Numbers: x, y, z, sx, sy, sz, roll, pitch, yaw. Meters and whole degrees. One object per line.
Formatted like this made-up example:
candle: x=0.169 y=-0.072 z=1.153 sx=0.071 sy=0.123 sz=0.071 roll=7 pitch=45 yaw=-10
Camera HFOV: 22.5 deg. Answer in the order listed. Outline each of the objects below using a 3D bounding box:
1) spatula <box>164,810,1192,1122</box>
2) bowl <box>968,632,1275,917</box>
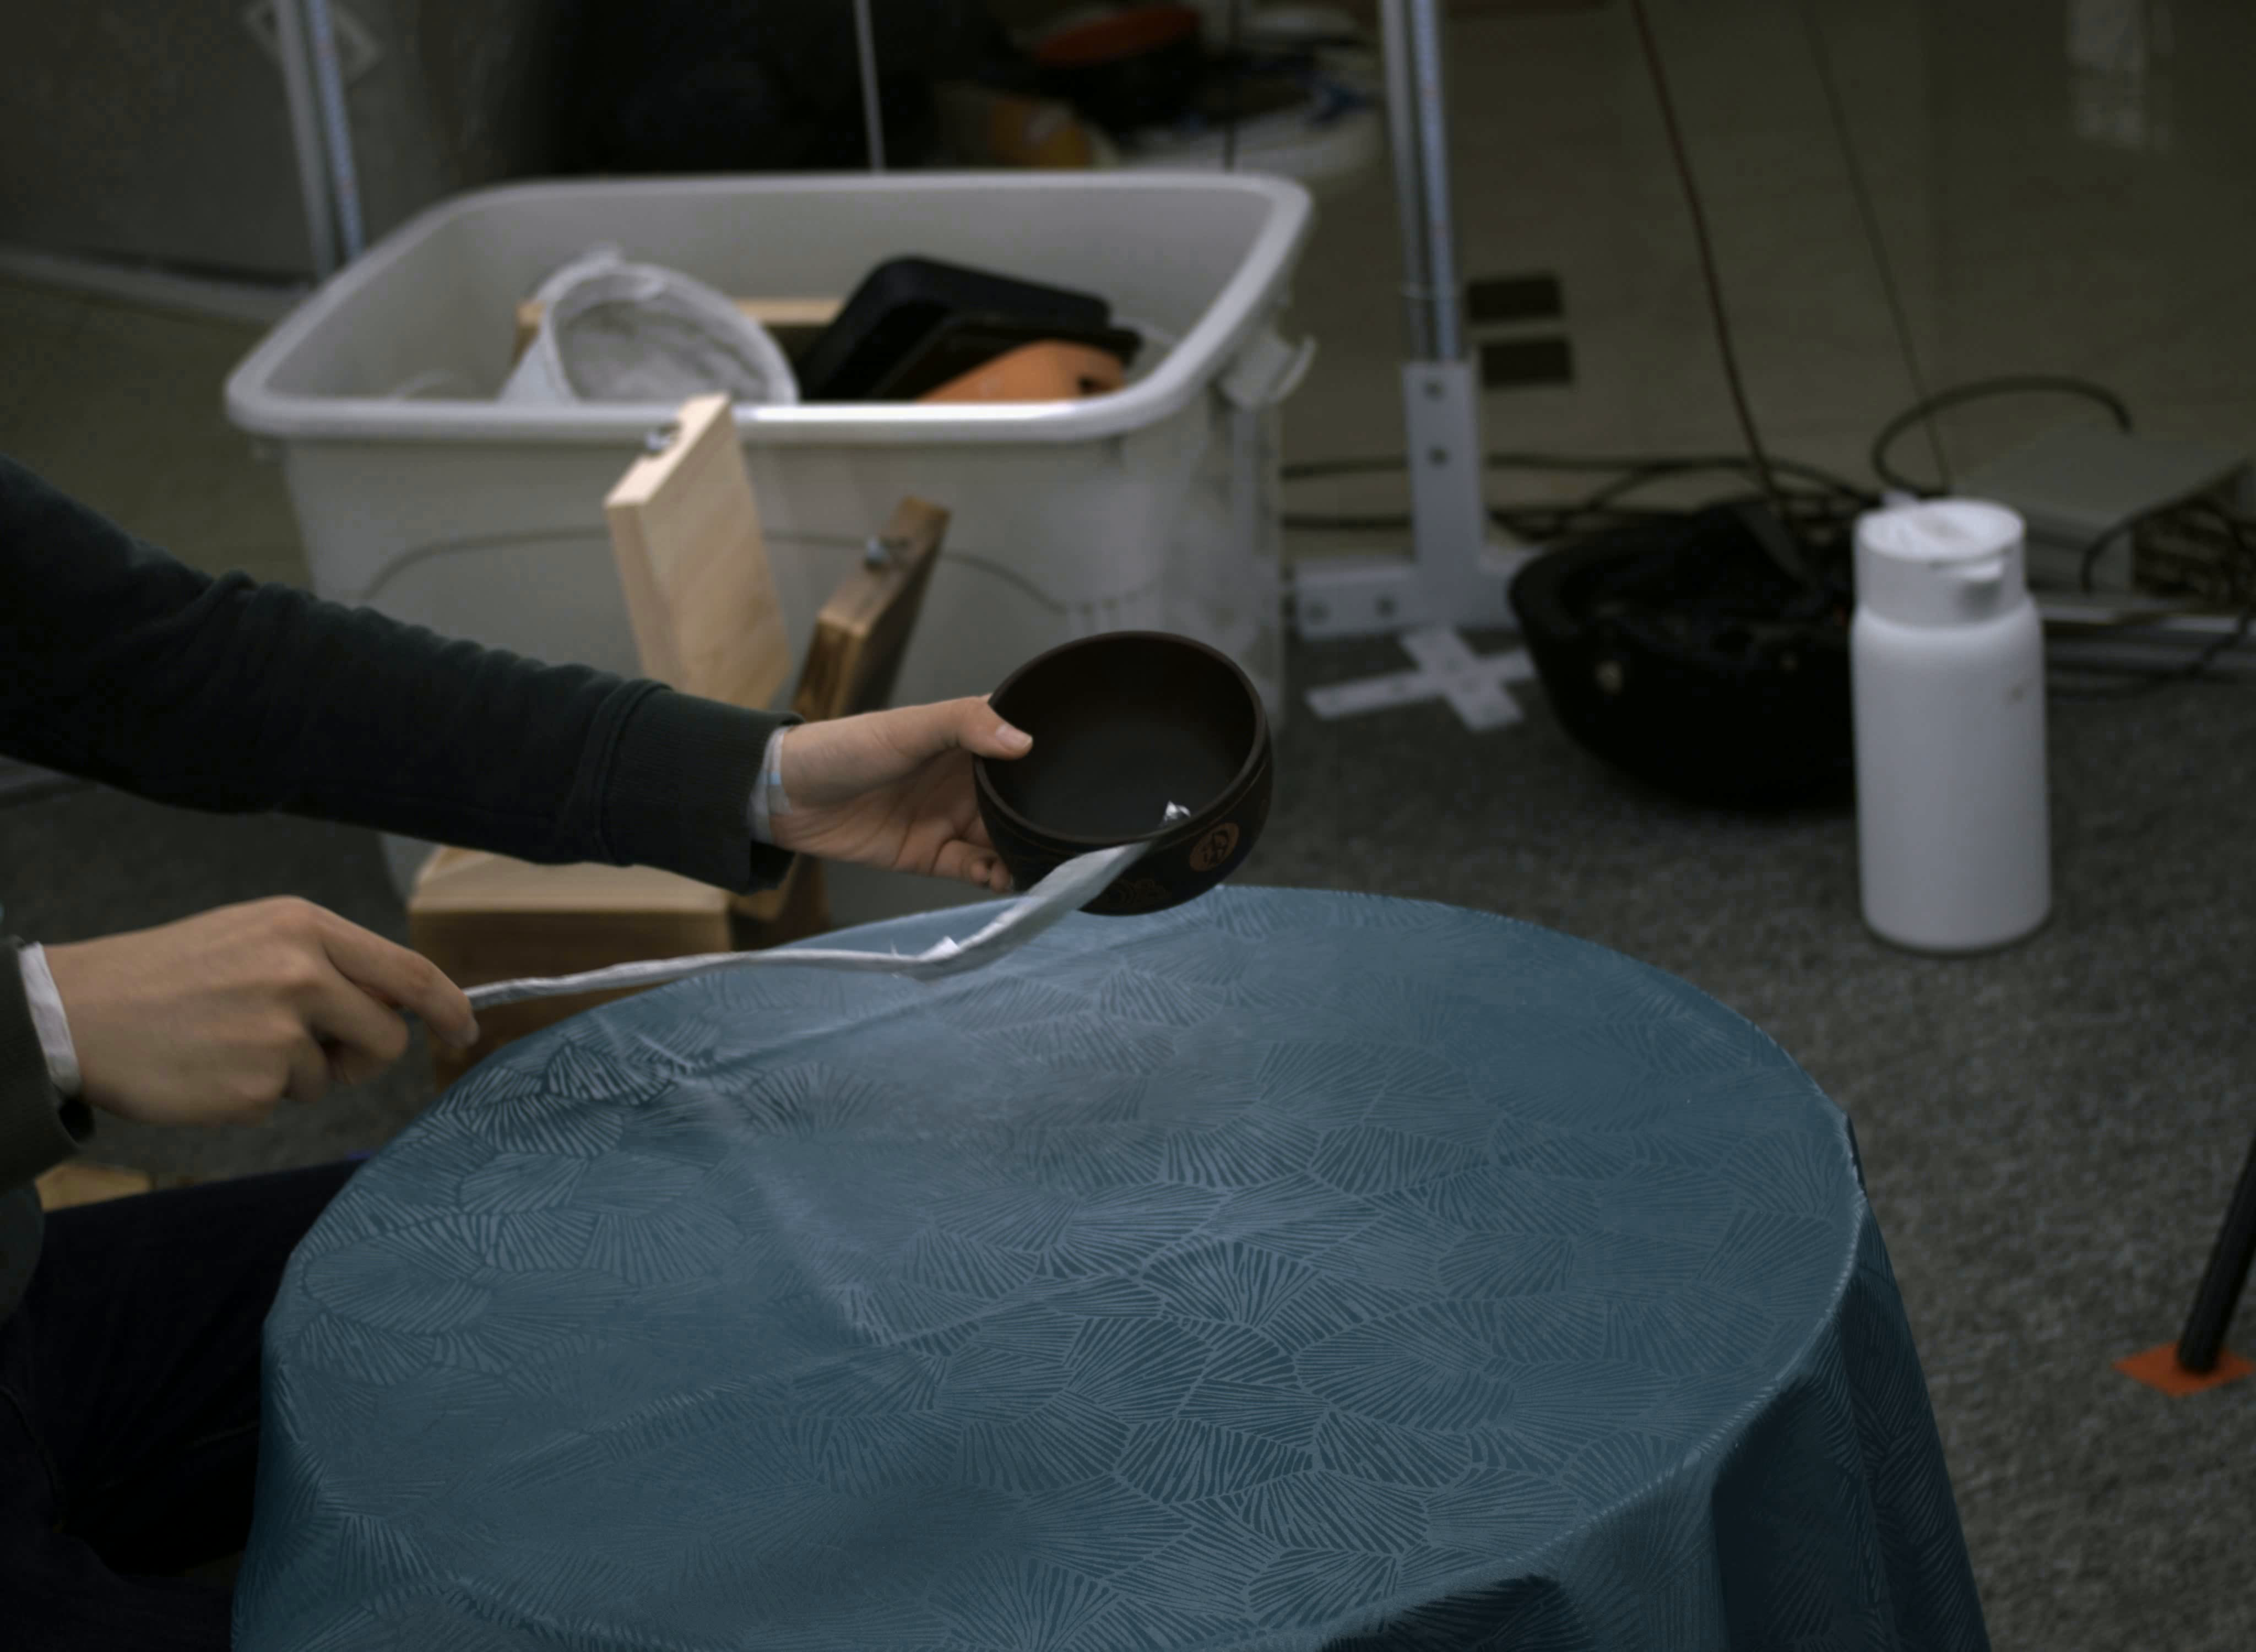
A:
spatula: x=-0.145 y=0.046 z=1.871 sx=0.364 sy=0.044 sz=0.099 roll=-9 pitch=-7 yaw=-26
bowl: x=0.000 y=-0.011 z=2.188 sx=0.118 sy=0.071 sz=0.116 roll=-6 pitch=45 yaw=6
